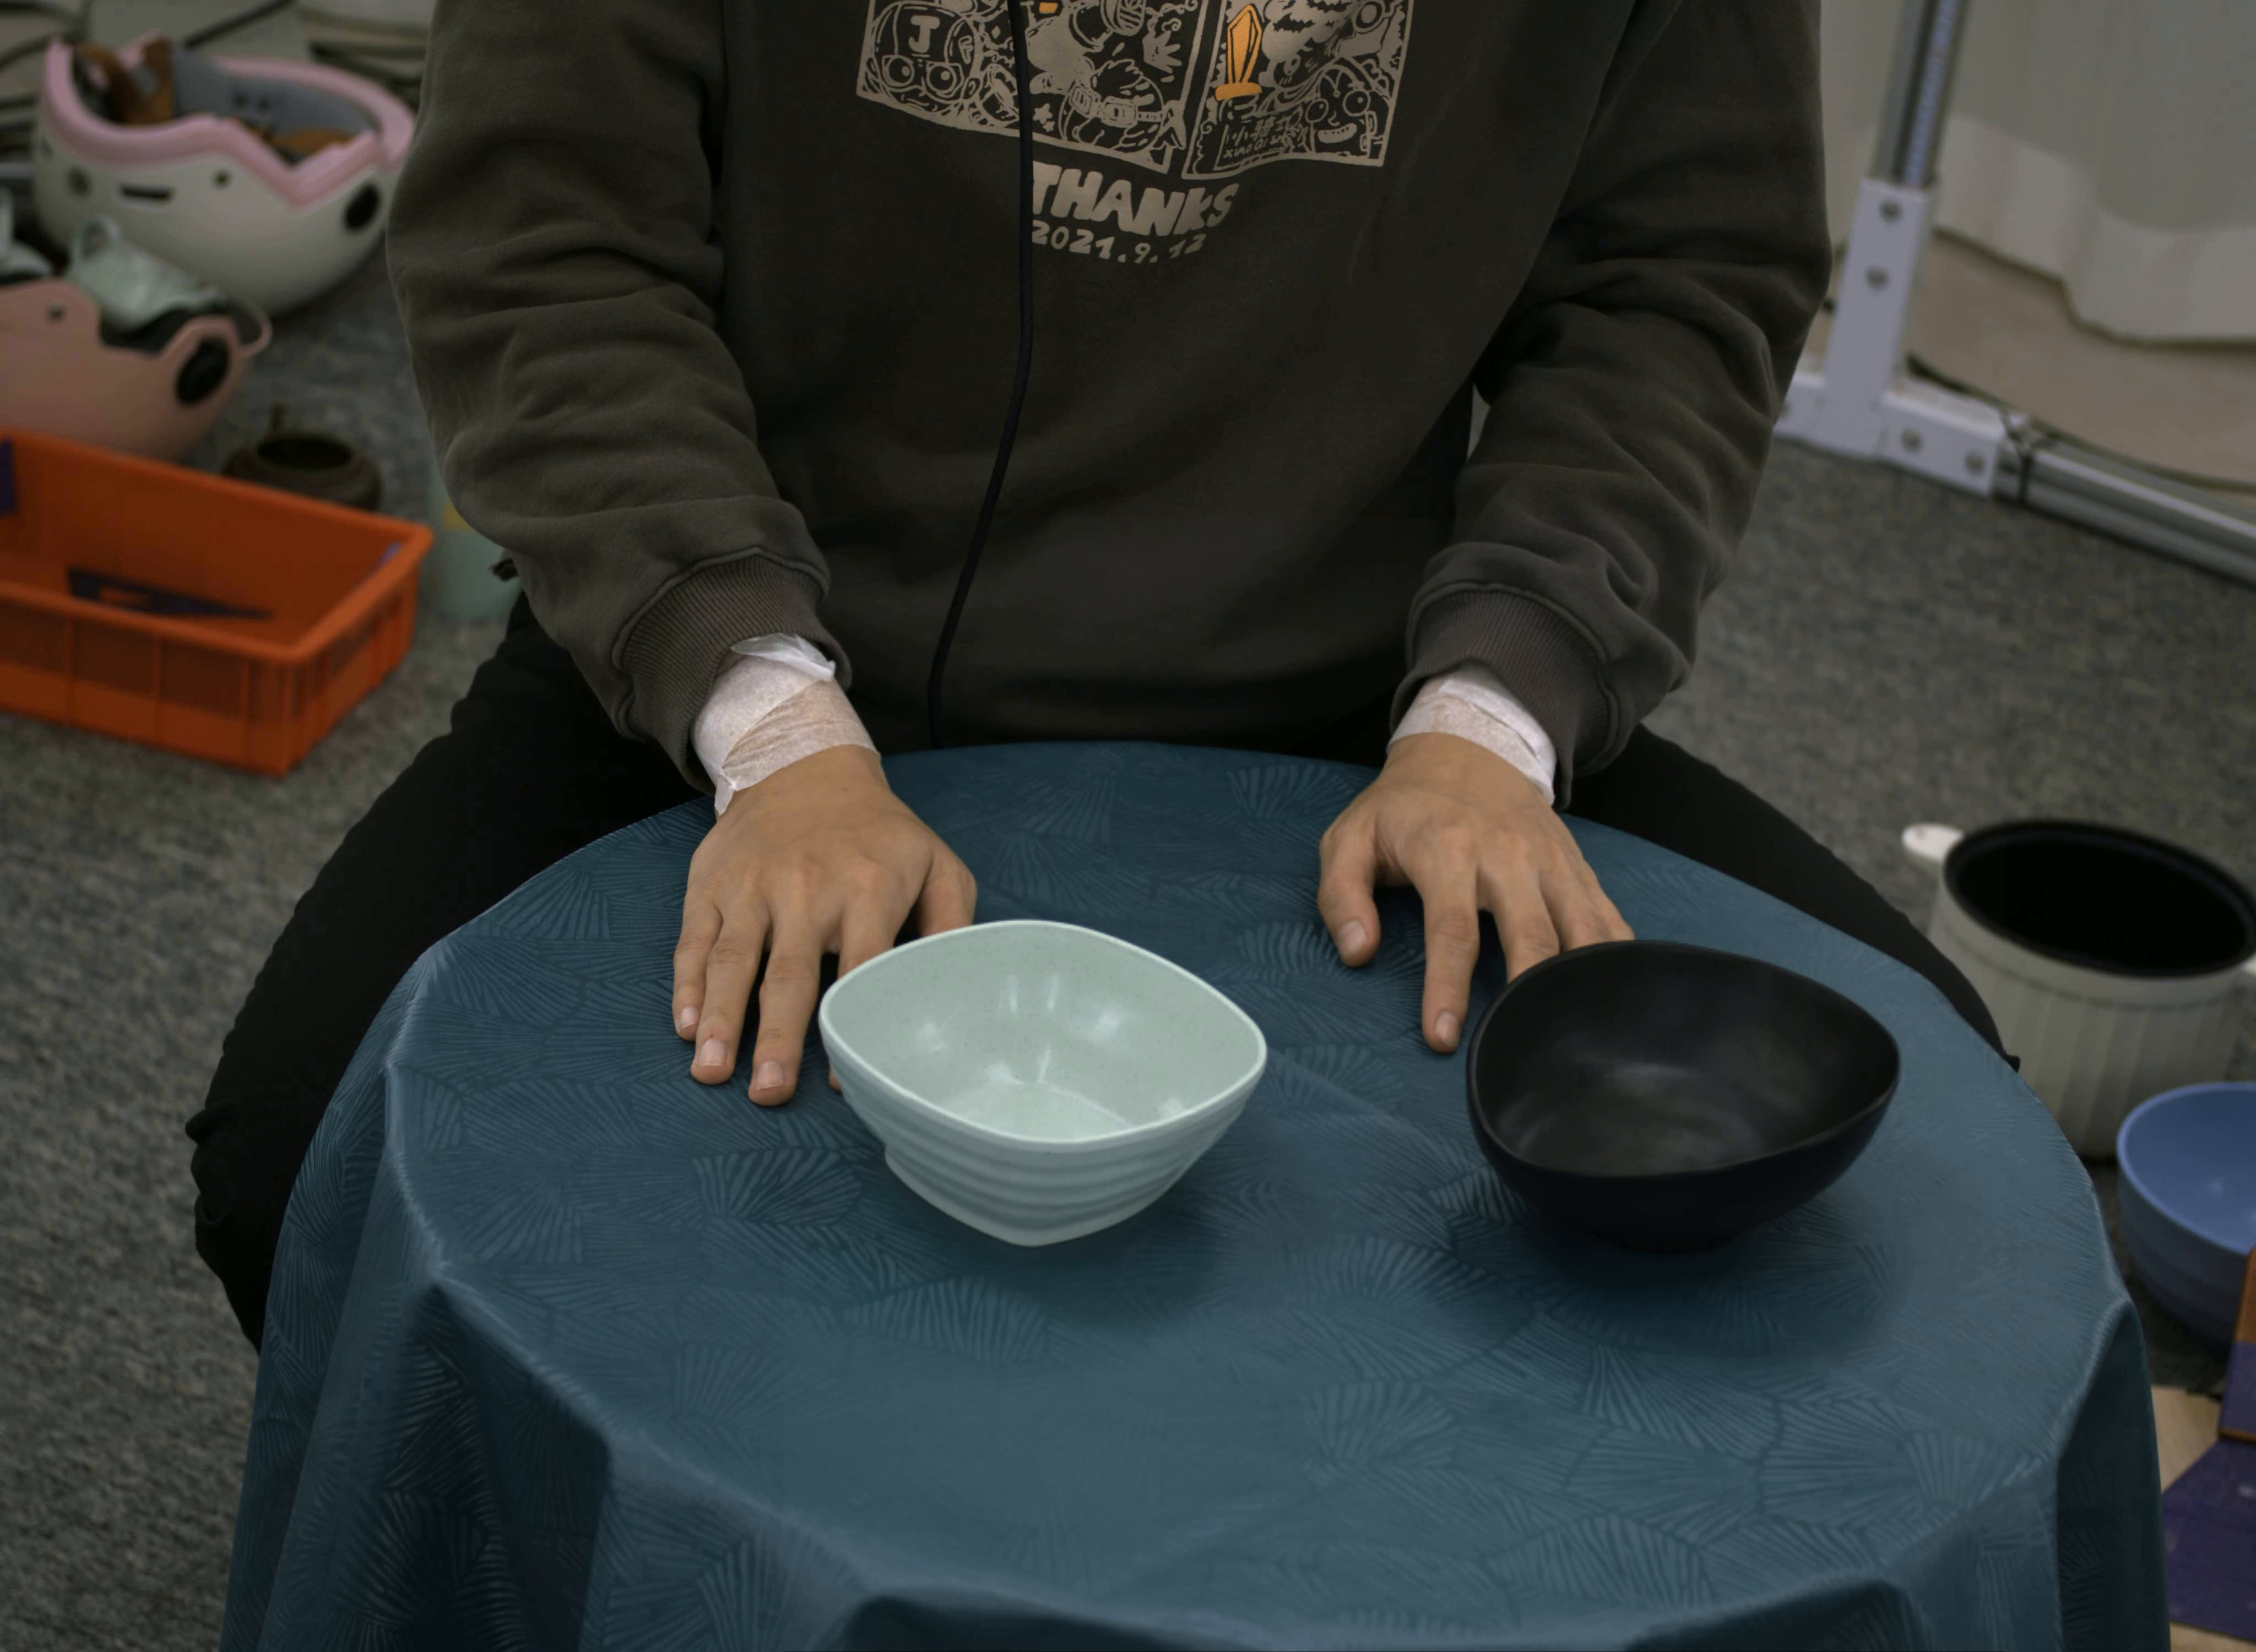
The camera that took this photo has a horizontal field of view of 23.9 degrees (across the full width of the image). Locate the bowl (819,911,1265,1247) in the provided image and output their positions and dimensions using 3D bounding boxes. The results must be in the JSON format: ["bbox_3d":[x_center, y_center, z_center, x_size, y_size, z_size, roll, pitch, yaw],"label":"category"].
[{"bbox_3d":[-0.032,0.091,1.796,0.151,0.058,0.152,6,29,-4],"label":"bowl"}]

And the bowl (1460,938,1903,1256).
[{"bbox_3d":[0.186,0.103,1.817,0.138,0.066,0.169,27,34,35],"label":"bowl"}]
